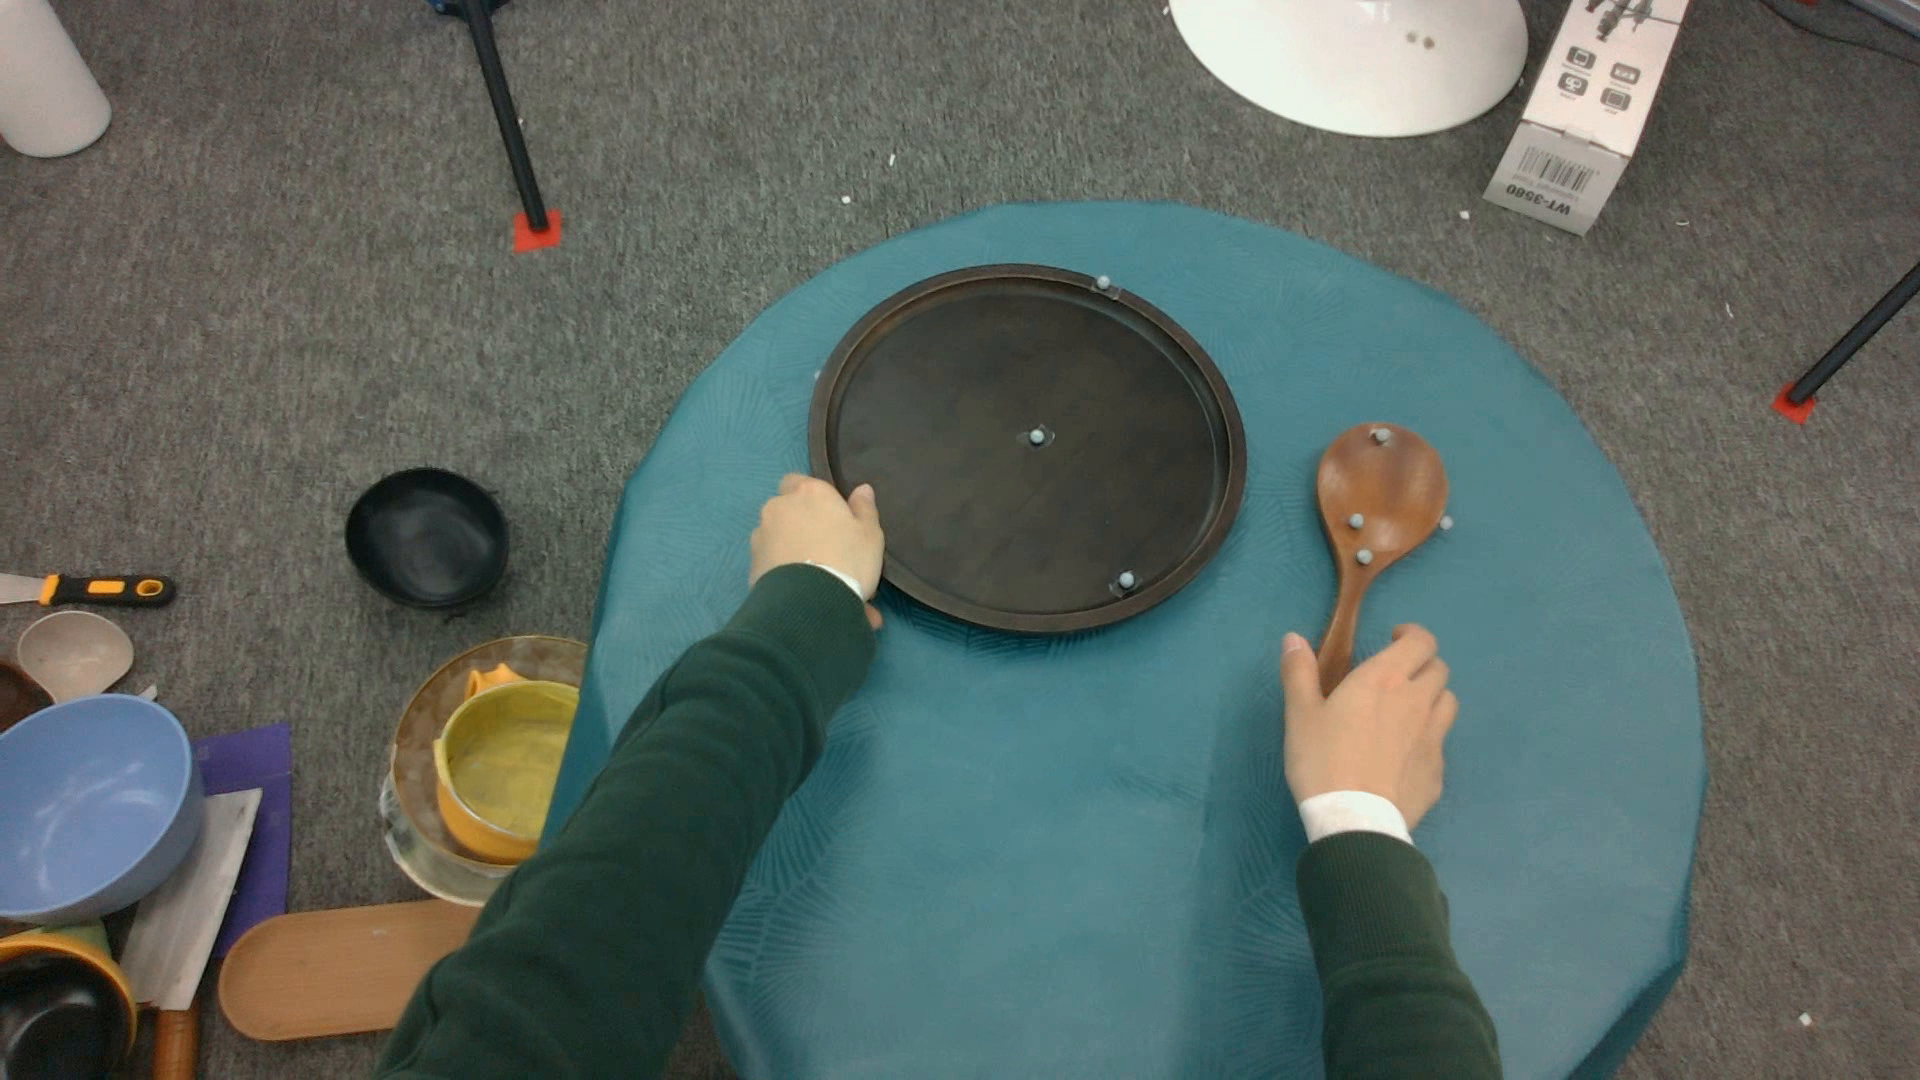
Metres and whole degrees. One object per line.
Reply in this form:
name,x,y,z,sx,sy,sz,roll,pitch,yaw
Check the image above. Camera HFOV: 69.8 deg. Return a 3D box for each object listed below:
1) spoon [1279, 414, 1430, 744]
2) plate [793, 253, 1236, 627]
spoon,0.212,0.017,0.765,0.075,0.017,0.217,20,60,6
plate,0.031,-0.062,0.791,0.255,0.029,0.256,2,59,-4
